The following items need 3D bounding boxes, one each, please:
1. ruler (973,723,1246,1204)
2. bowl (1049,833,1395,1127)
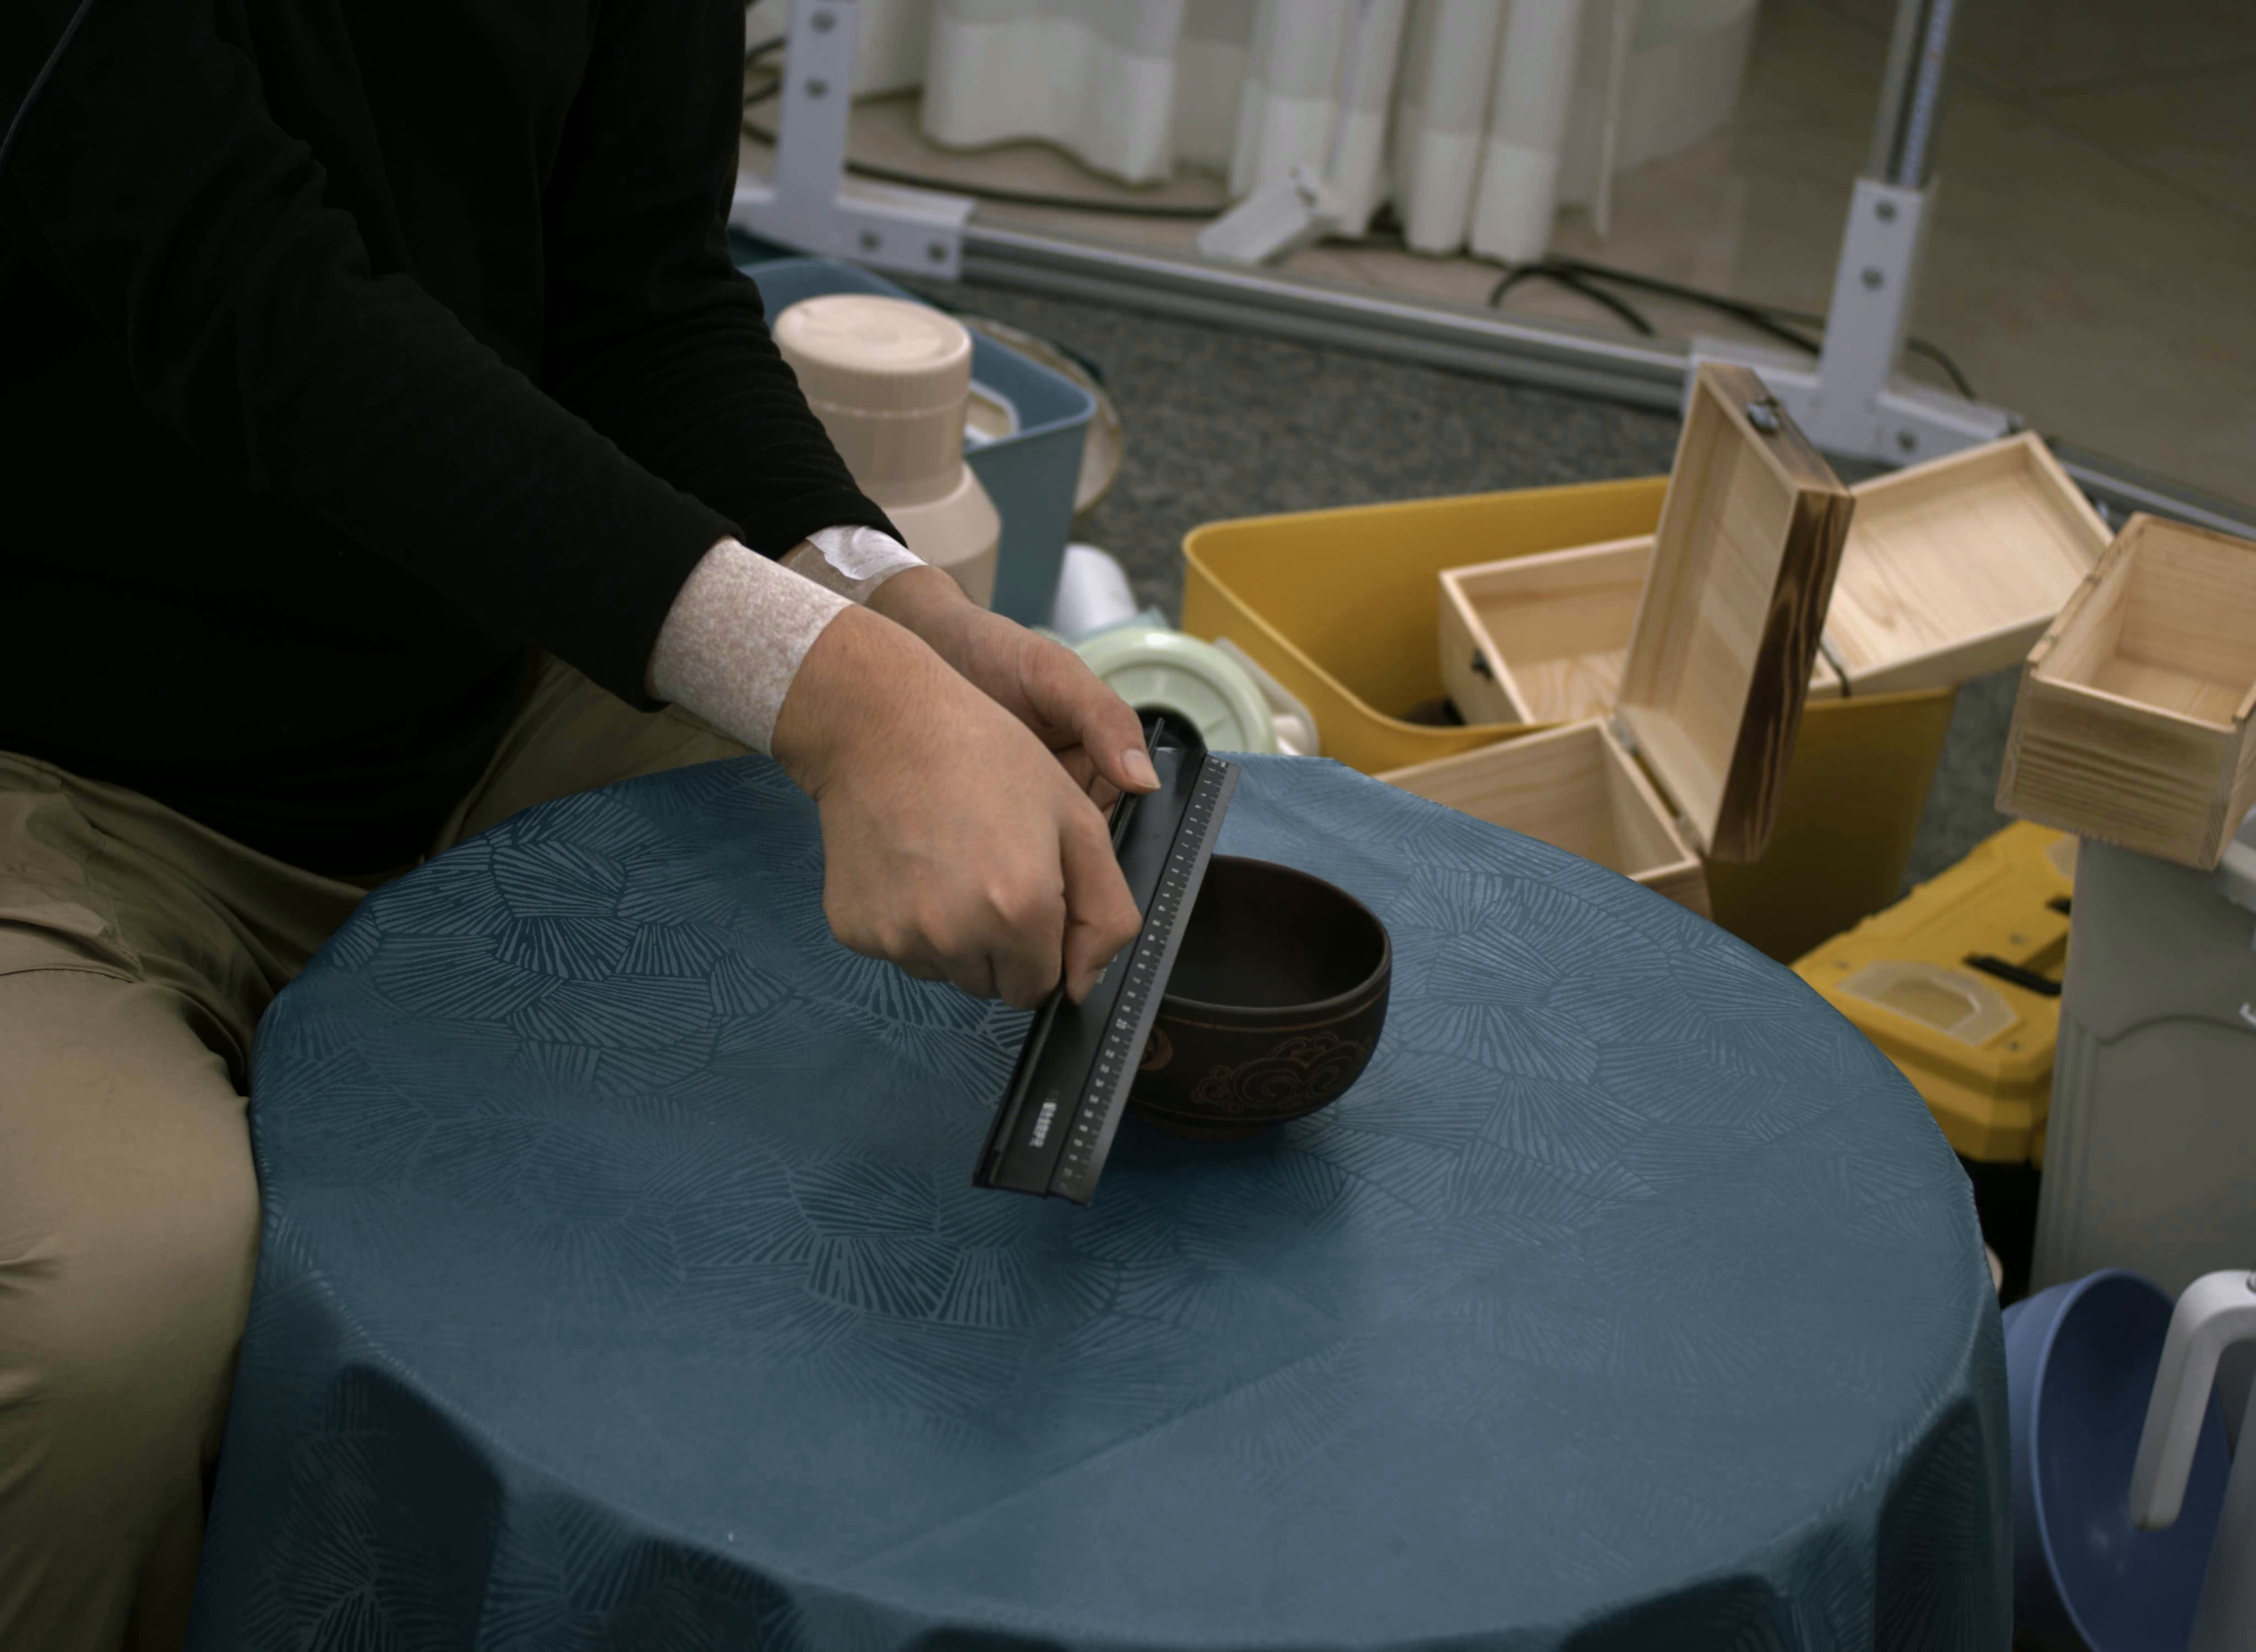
[{"bbox_3d":[-0.002,0.040,1.798,0.039,0.017,0.313,12,28,6],"label":"ruler"},{"bbox_3d":[0.029,0.061,1.845,0.117,0.069,0.119,9,28,-5],"label":"bowl"}]
